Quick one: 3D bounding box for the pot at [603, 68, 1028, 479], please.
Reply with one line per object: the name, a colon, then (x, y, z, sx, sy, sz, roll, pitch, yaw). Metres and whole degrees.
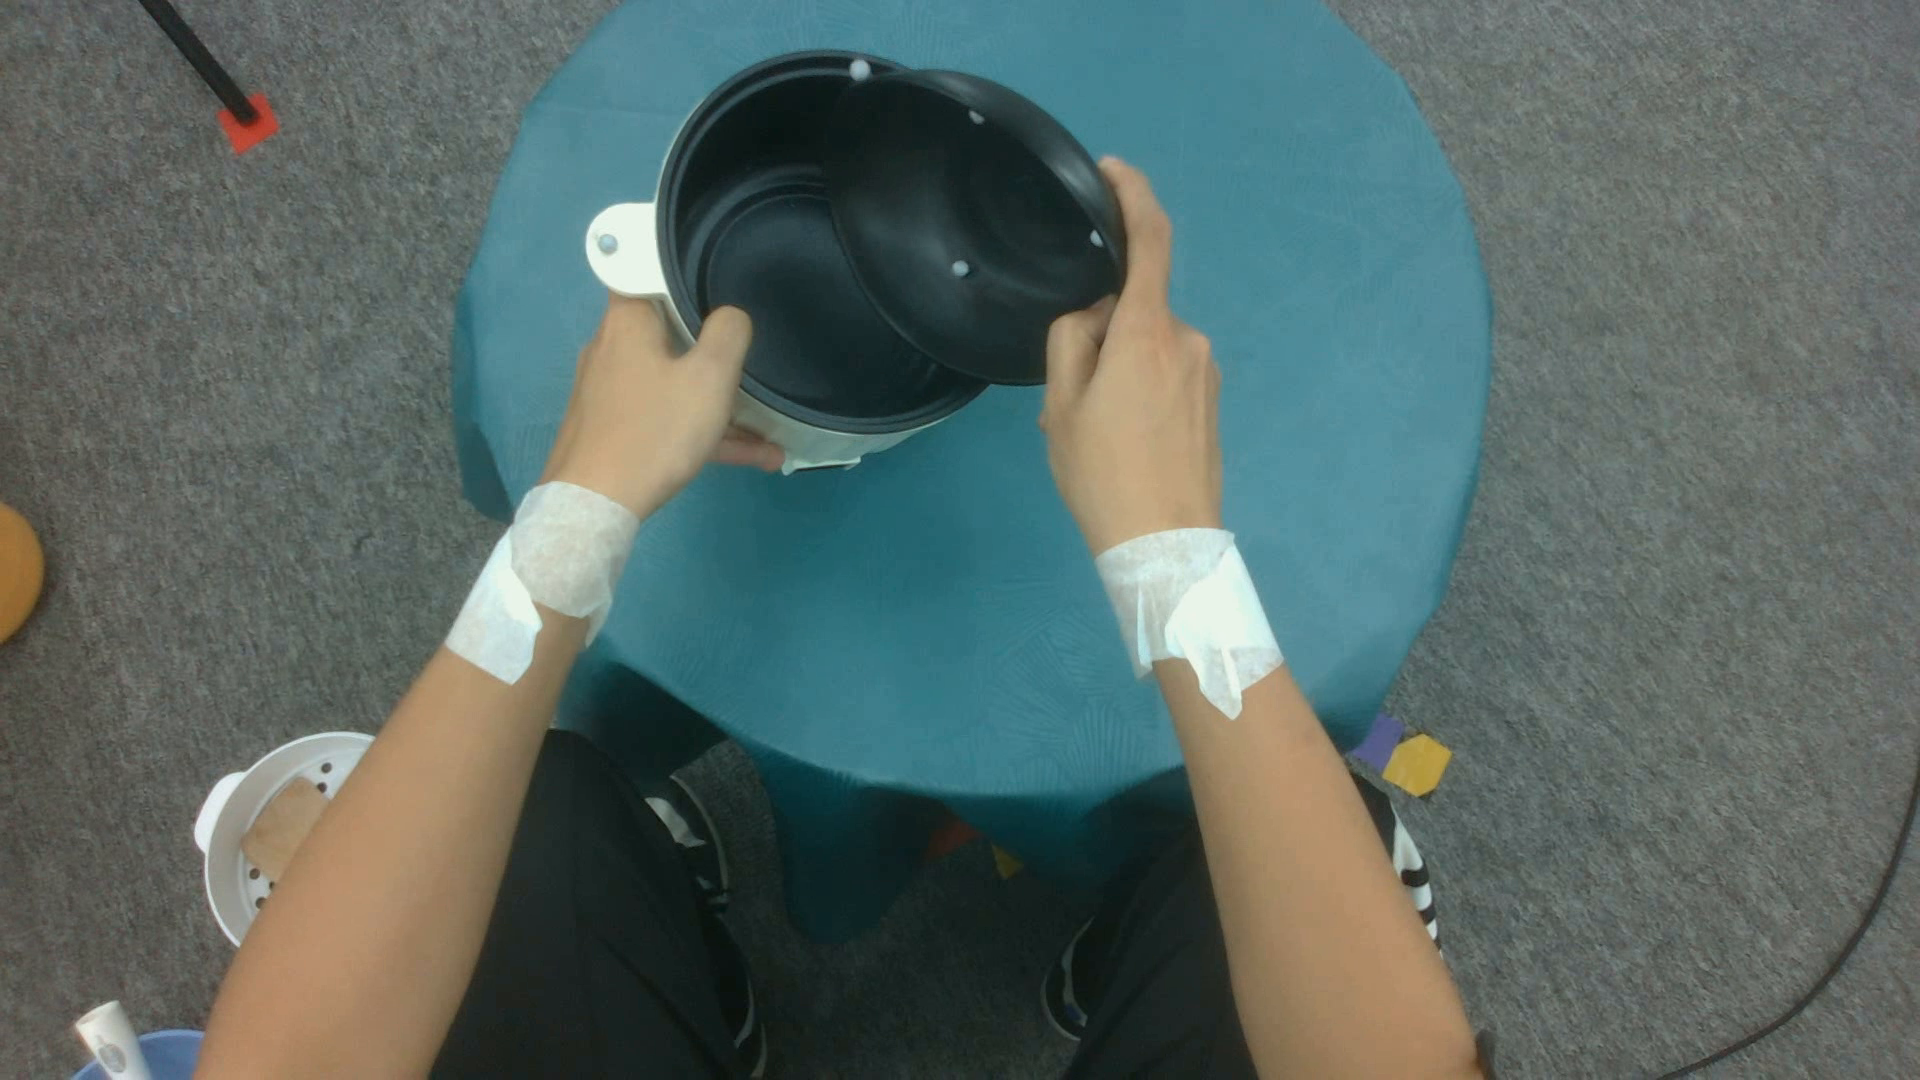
pot: (-0.069, -0.133, 0.709, 0.241, 0.142, 0.190, -8, 88, -22)

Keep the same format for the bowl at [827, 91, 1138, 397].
bowl: (0.018, -0.142, 0.626, 0.170, 0.136, 0.067, 30, 51, 29)
